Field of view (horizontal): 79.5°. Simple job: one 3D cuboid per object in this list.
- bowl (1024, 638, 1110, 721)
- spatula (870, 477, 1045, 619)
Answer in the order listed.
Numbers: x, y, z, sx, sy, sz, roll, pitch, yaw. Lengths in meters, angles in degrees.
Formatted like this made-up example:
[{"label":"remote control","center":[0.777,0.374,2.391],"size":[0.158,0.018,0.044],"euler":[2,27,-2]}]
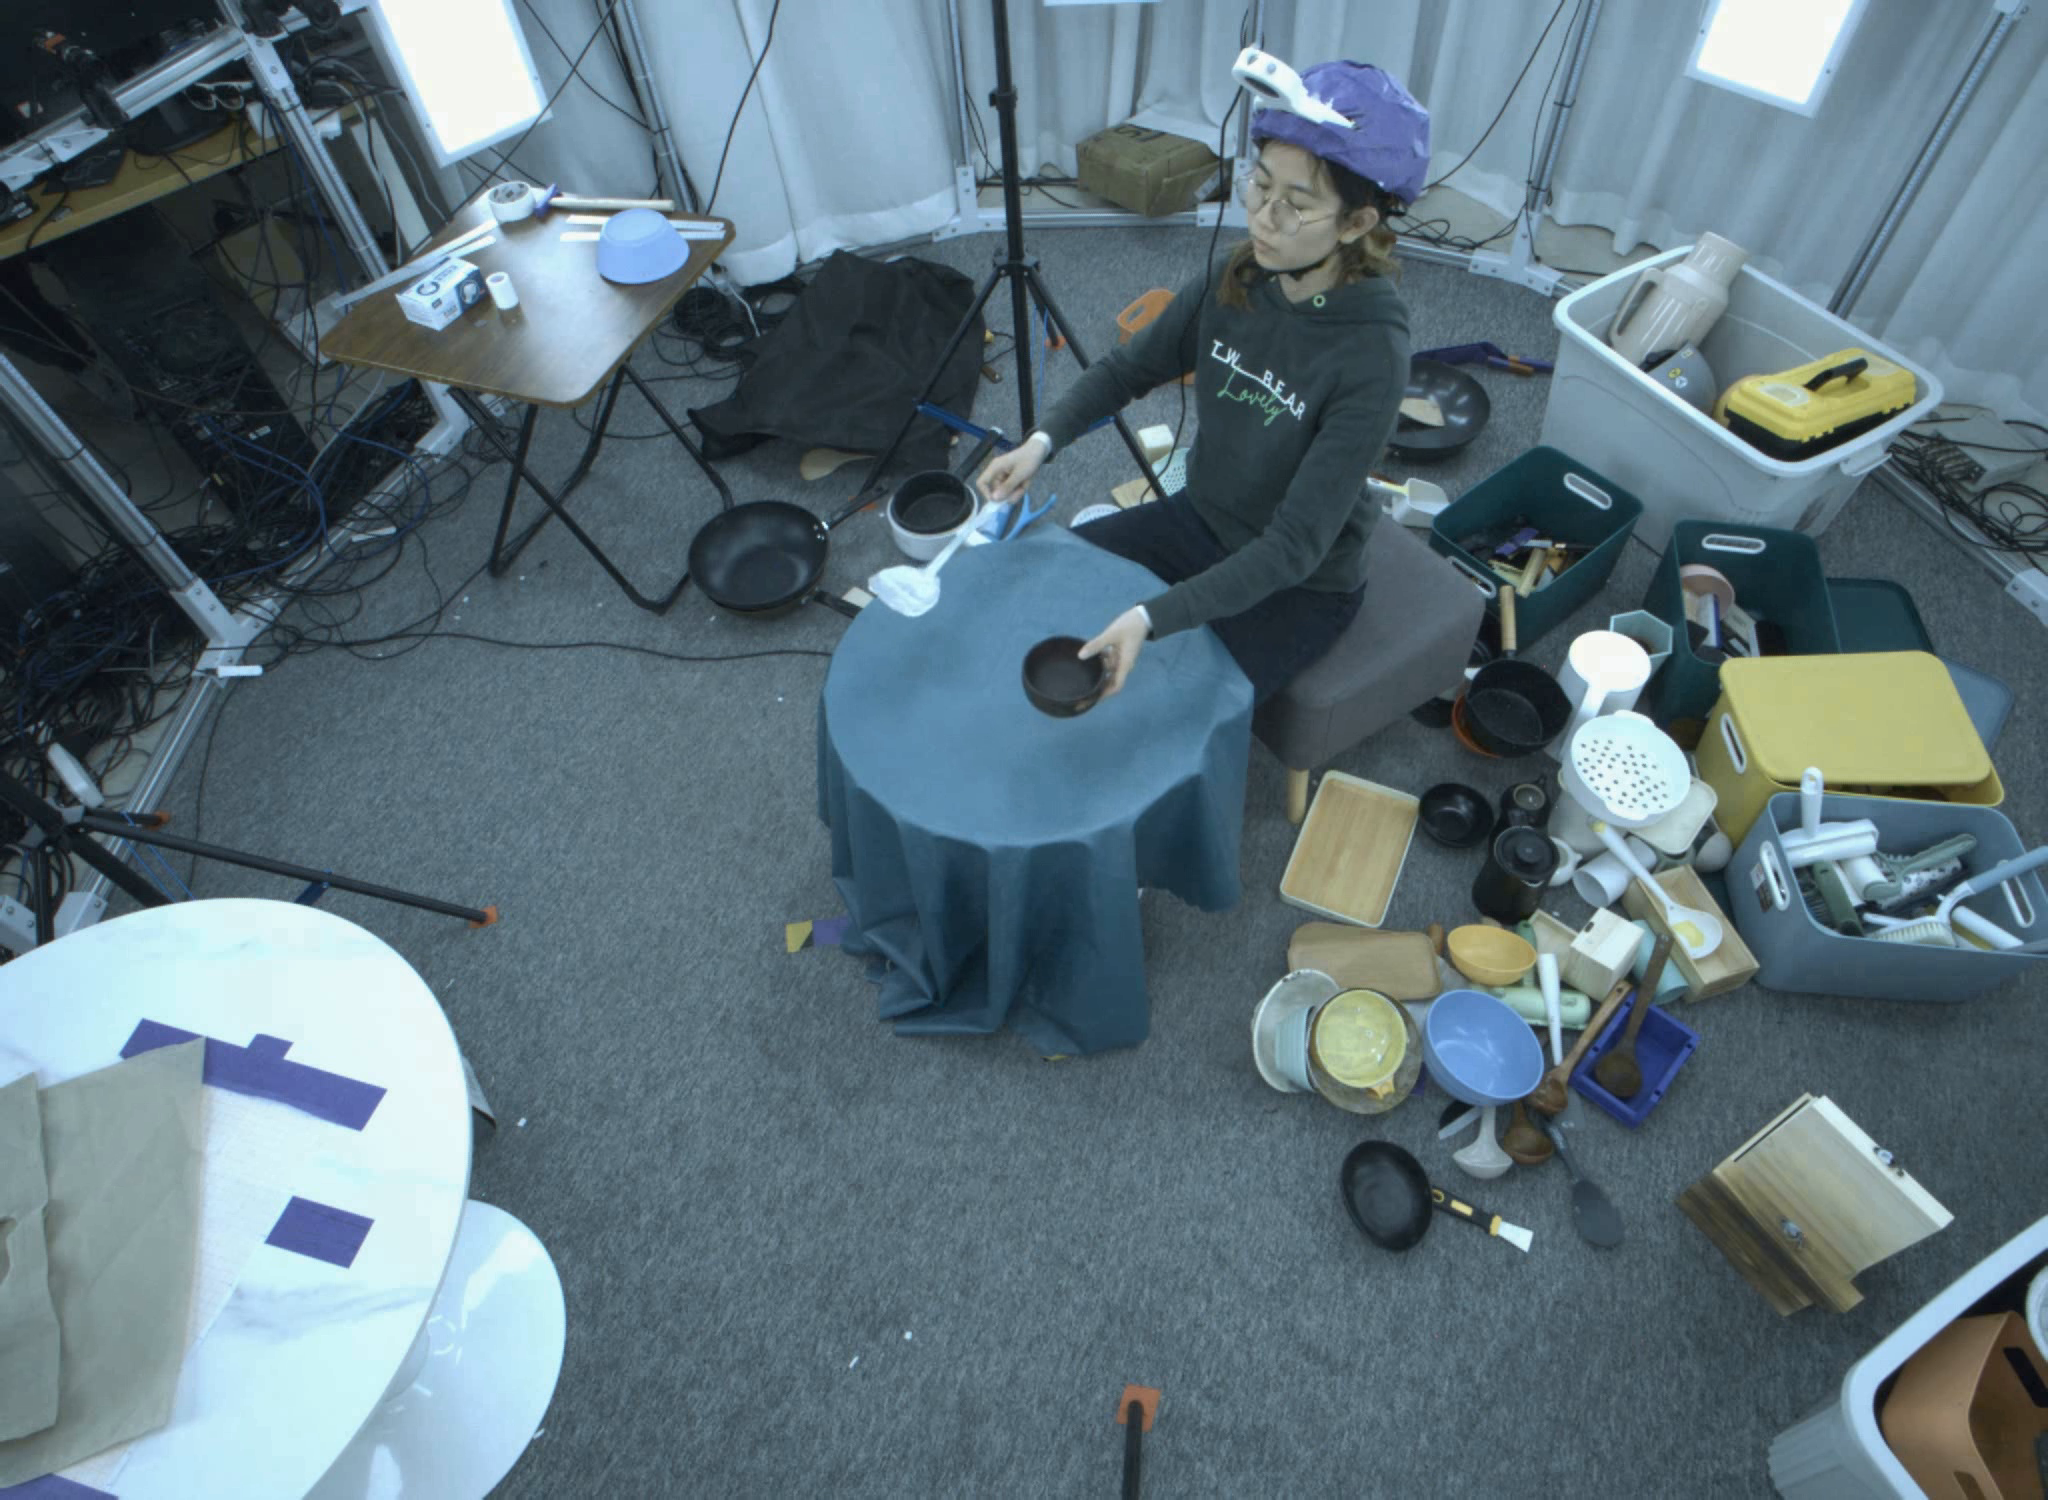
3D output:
[{"label":"bowl","center":[0.059,-0.090,1.706],"size":[0.118,0.070,0.117],"euler":[2,57,-2]},{"label":"spatula","center":[-0.087,-0.324,1.861],"size":[0.098,0.045,0.366],"euler":[37,66,11]}]
